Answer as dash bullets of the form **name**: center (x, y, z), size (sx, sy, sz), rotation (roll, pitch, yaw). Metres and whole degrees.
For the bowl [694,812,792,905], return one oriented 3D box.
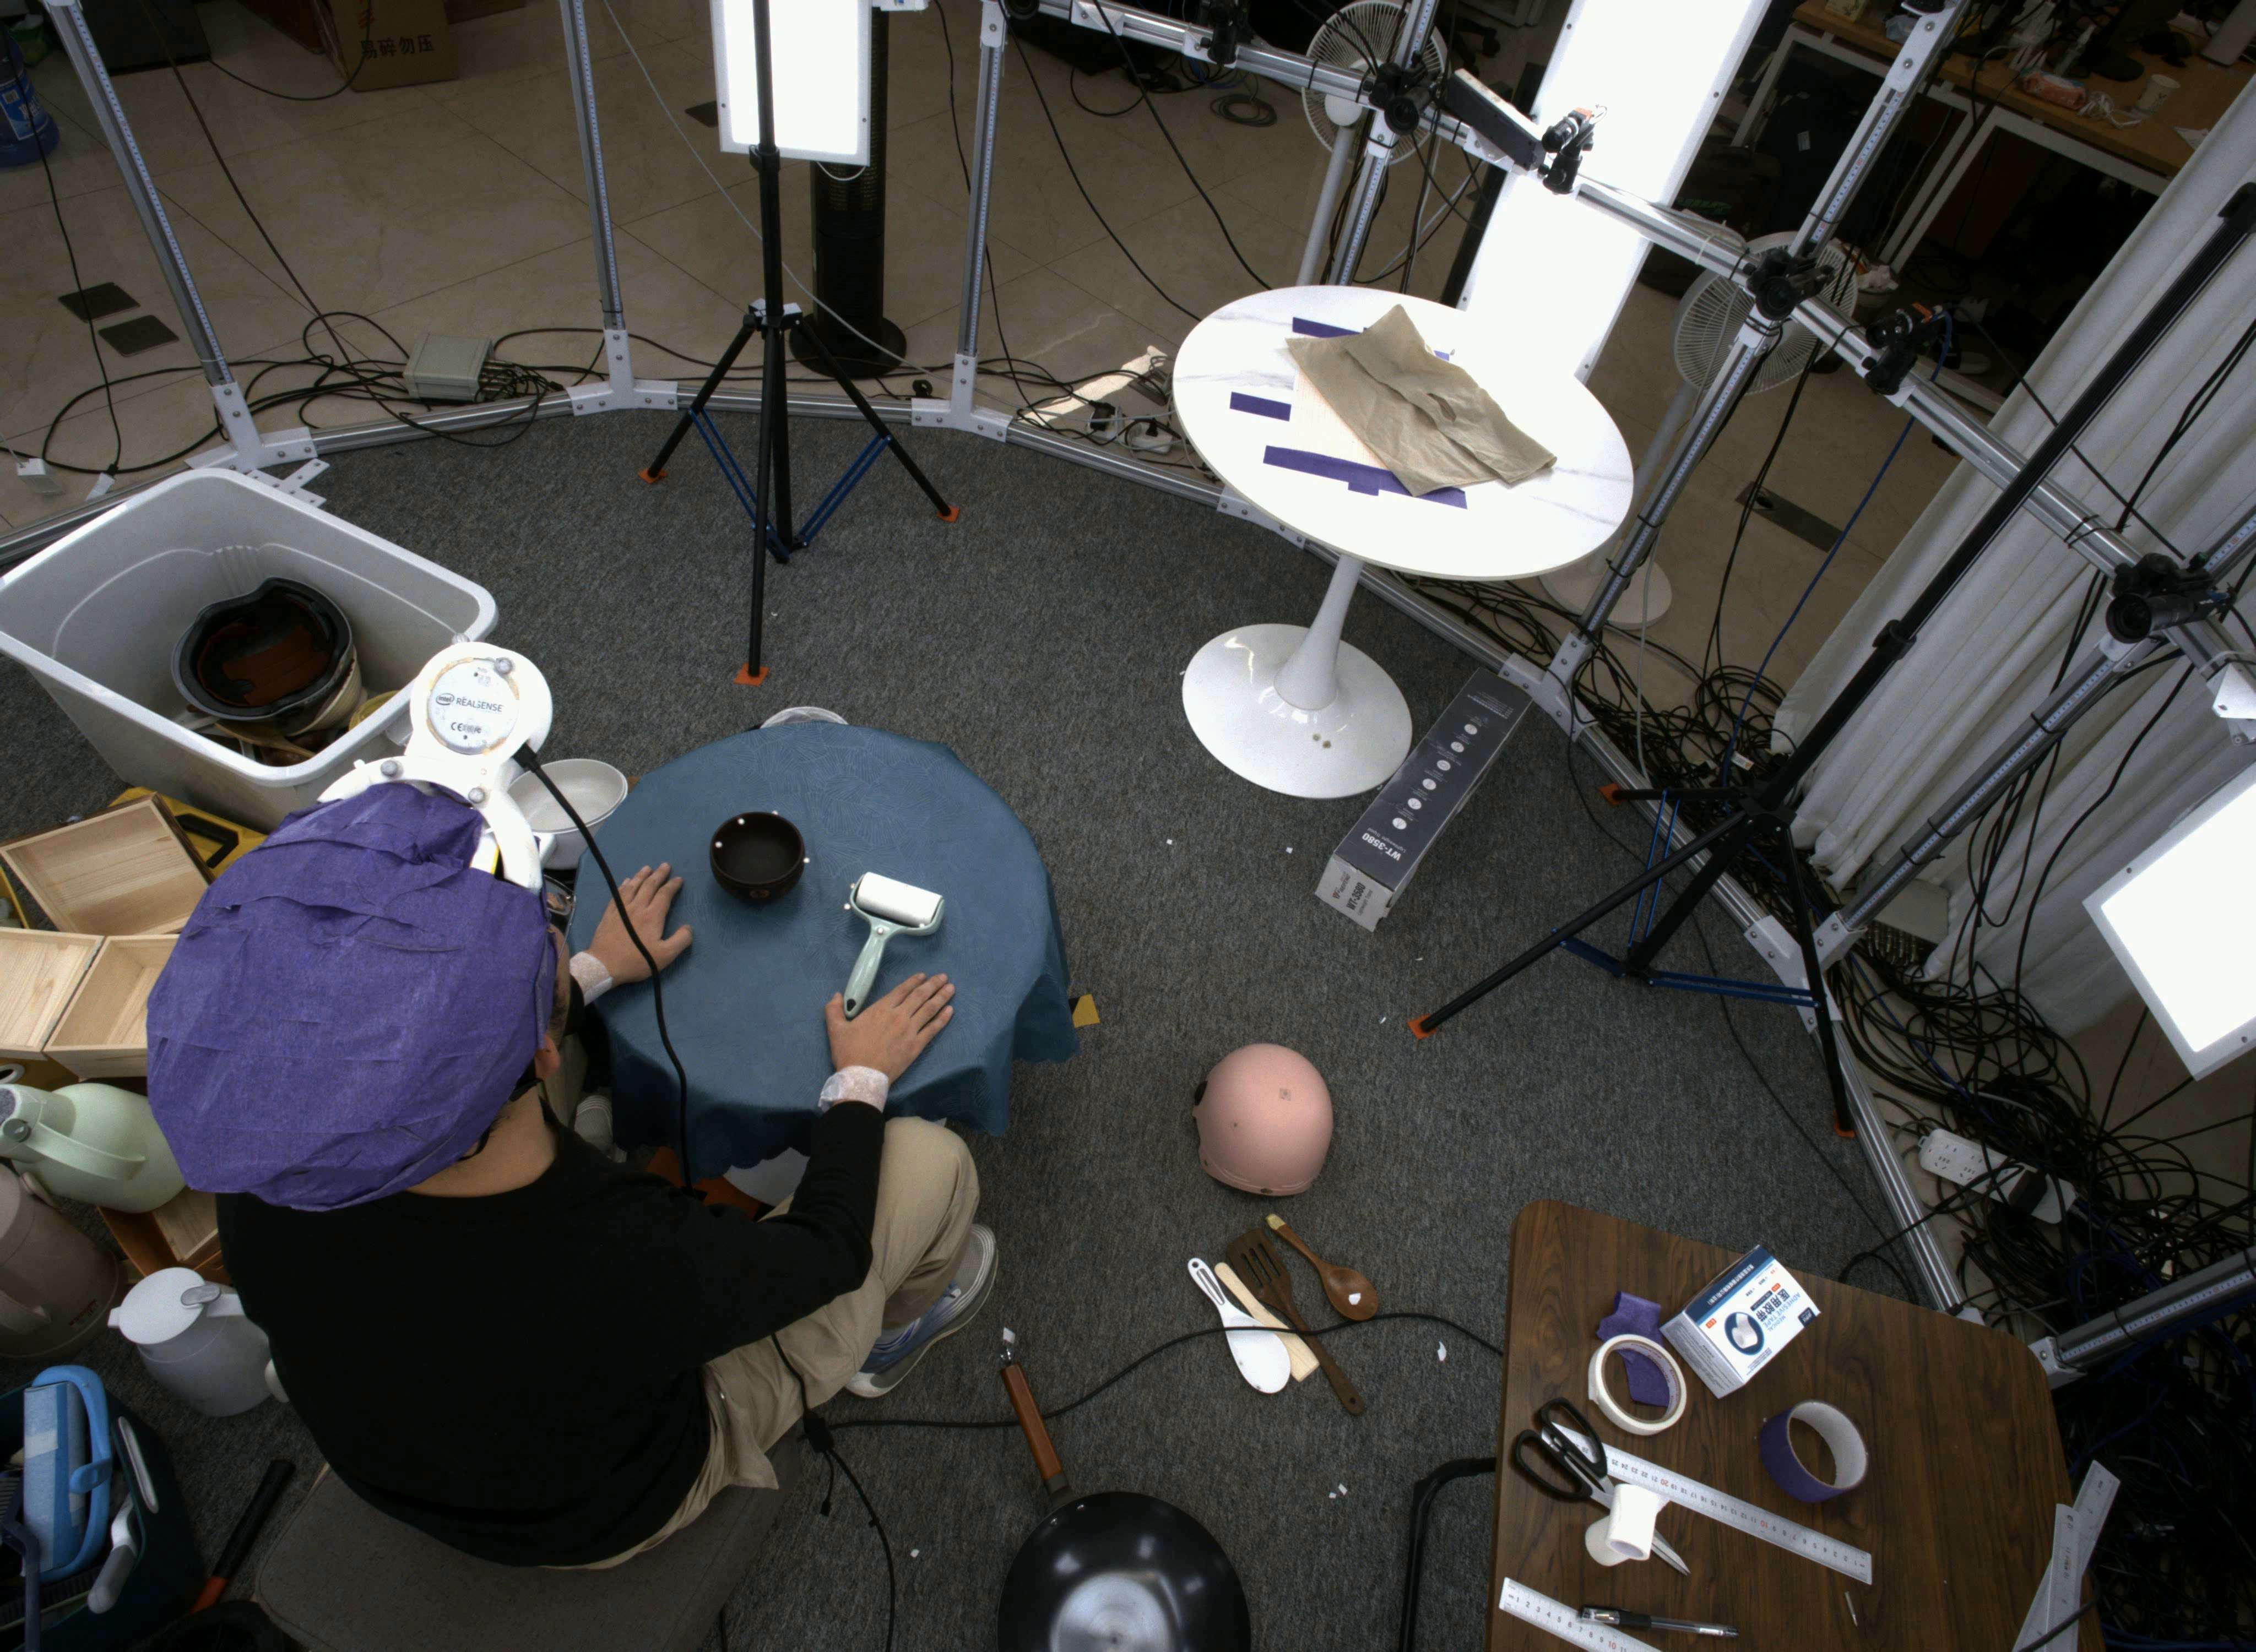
- **bowl**: center (-0.482, 0.047, 1.622), size (0.118, 0.071, 0.116), rotation (8, 53, -9)

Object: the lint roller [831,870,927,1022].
- **lint roller**: center (-0.330, 0.146, 1.606), size (0.116, 0.049, 0.195), rotation (18, 53, -2)
